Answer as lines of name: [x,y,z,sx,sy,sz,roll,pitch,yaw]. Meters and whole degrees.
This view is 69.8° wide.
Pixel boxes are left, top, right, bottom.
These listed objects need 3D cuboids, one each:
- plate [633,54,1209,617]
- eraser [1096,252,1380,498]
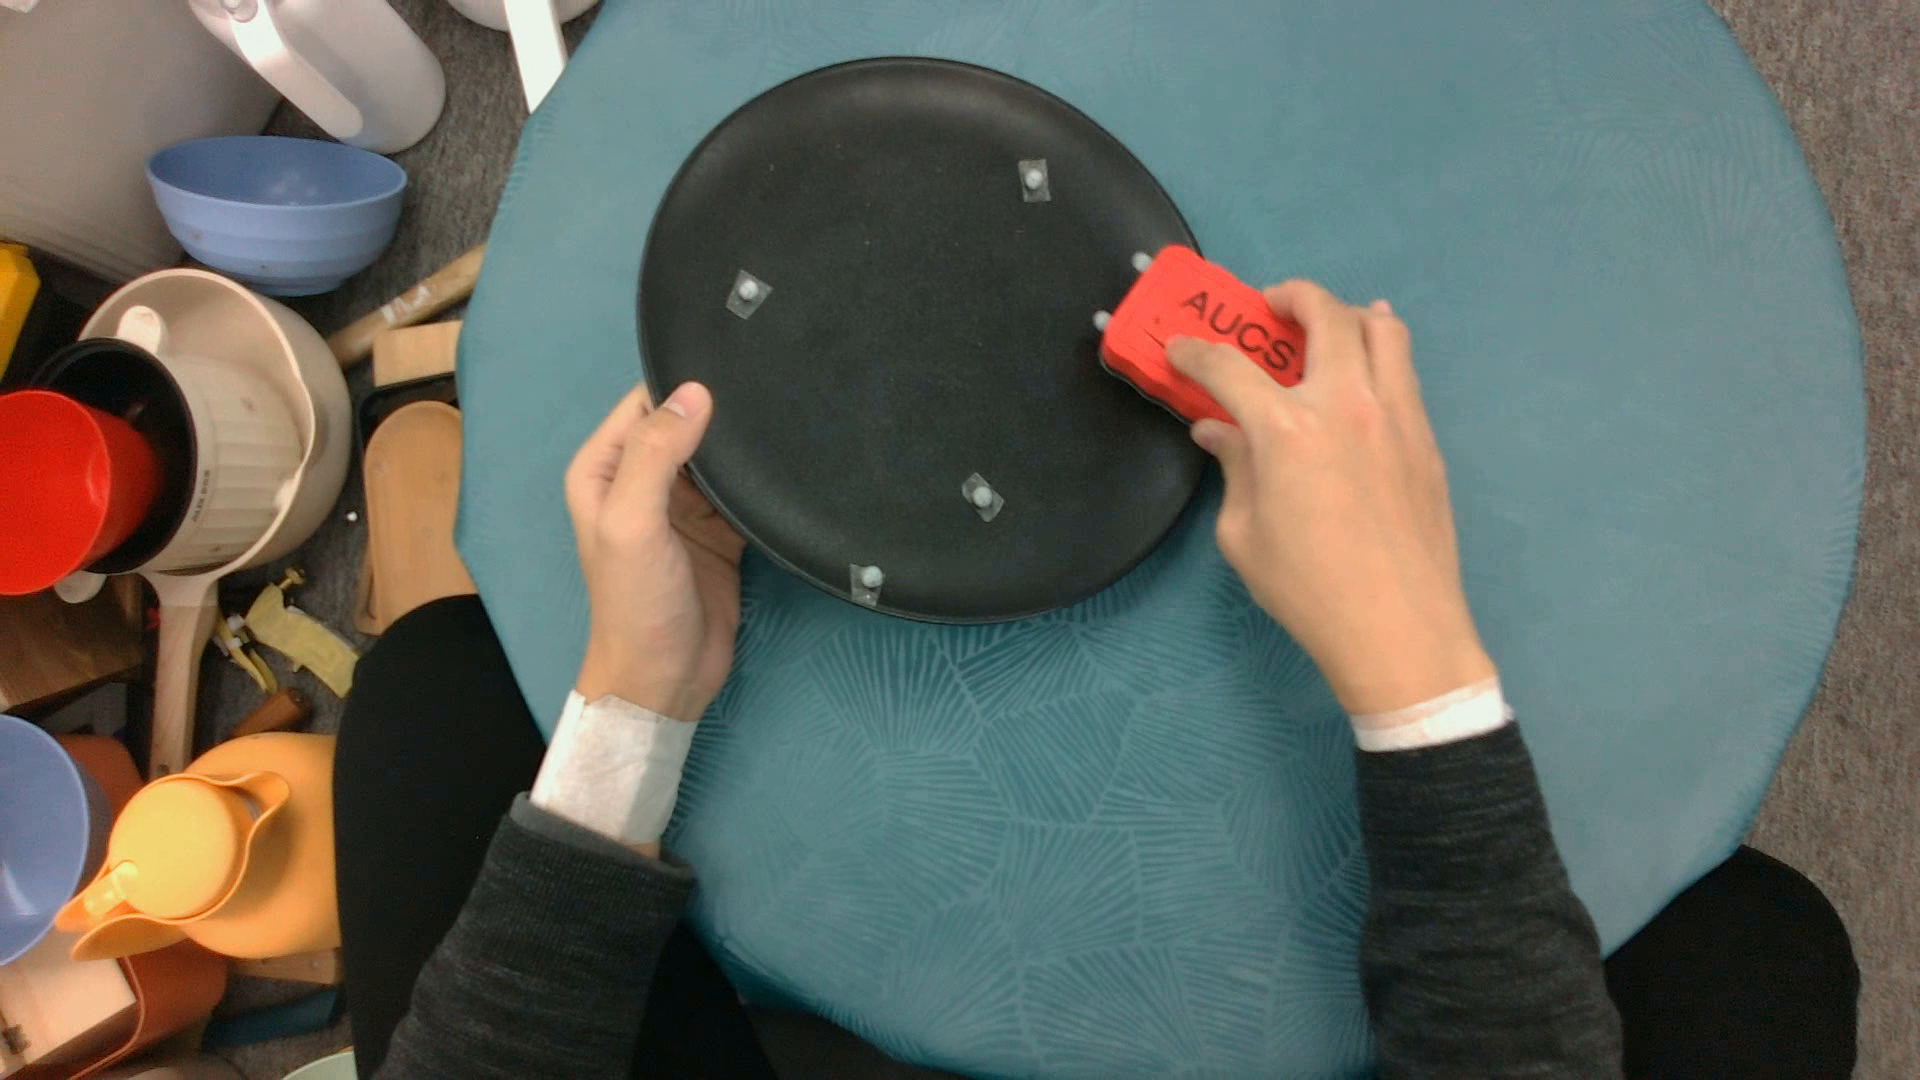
plate: [-0.009,-0.086,0.564,0.244,0.023,0.245,4,75,-14]
eraser: [0.113,-0.068,0.568,0.108,0.023,0.059,35,84,6]
